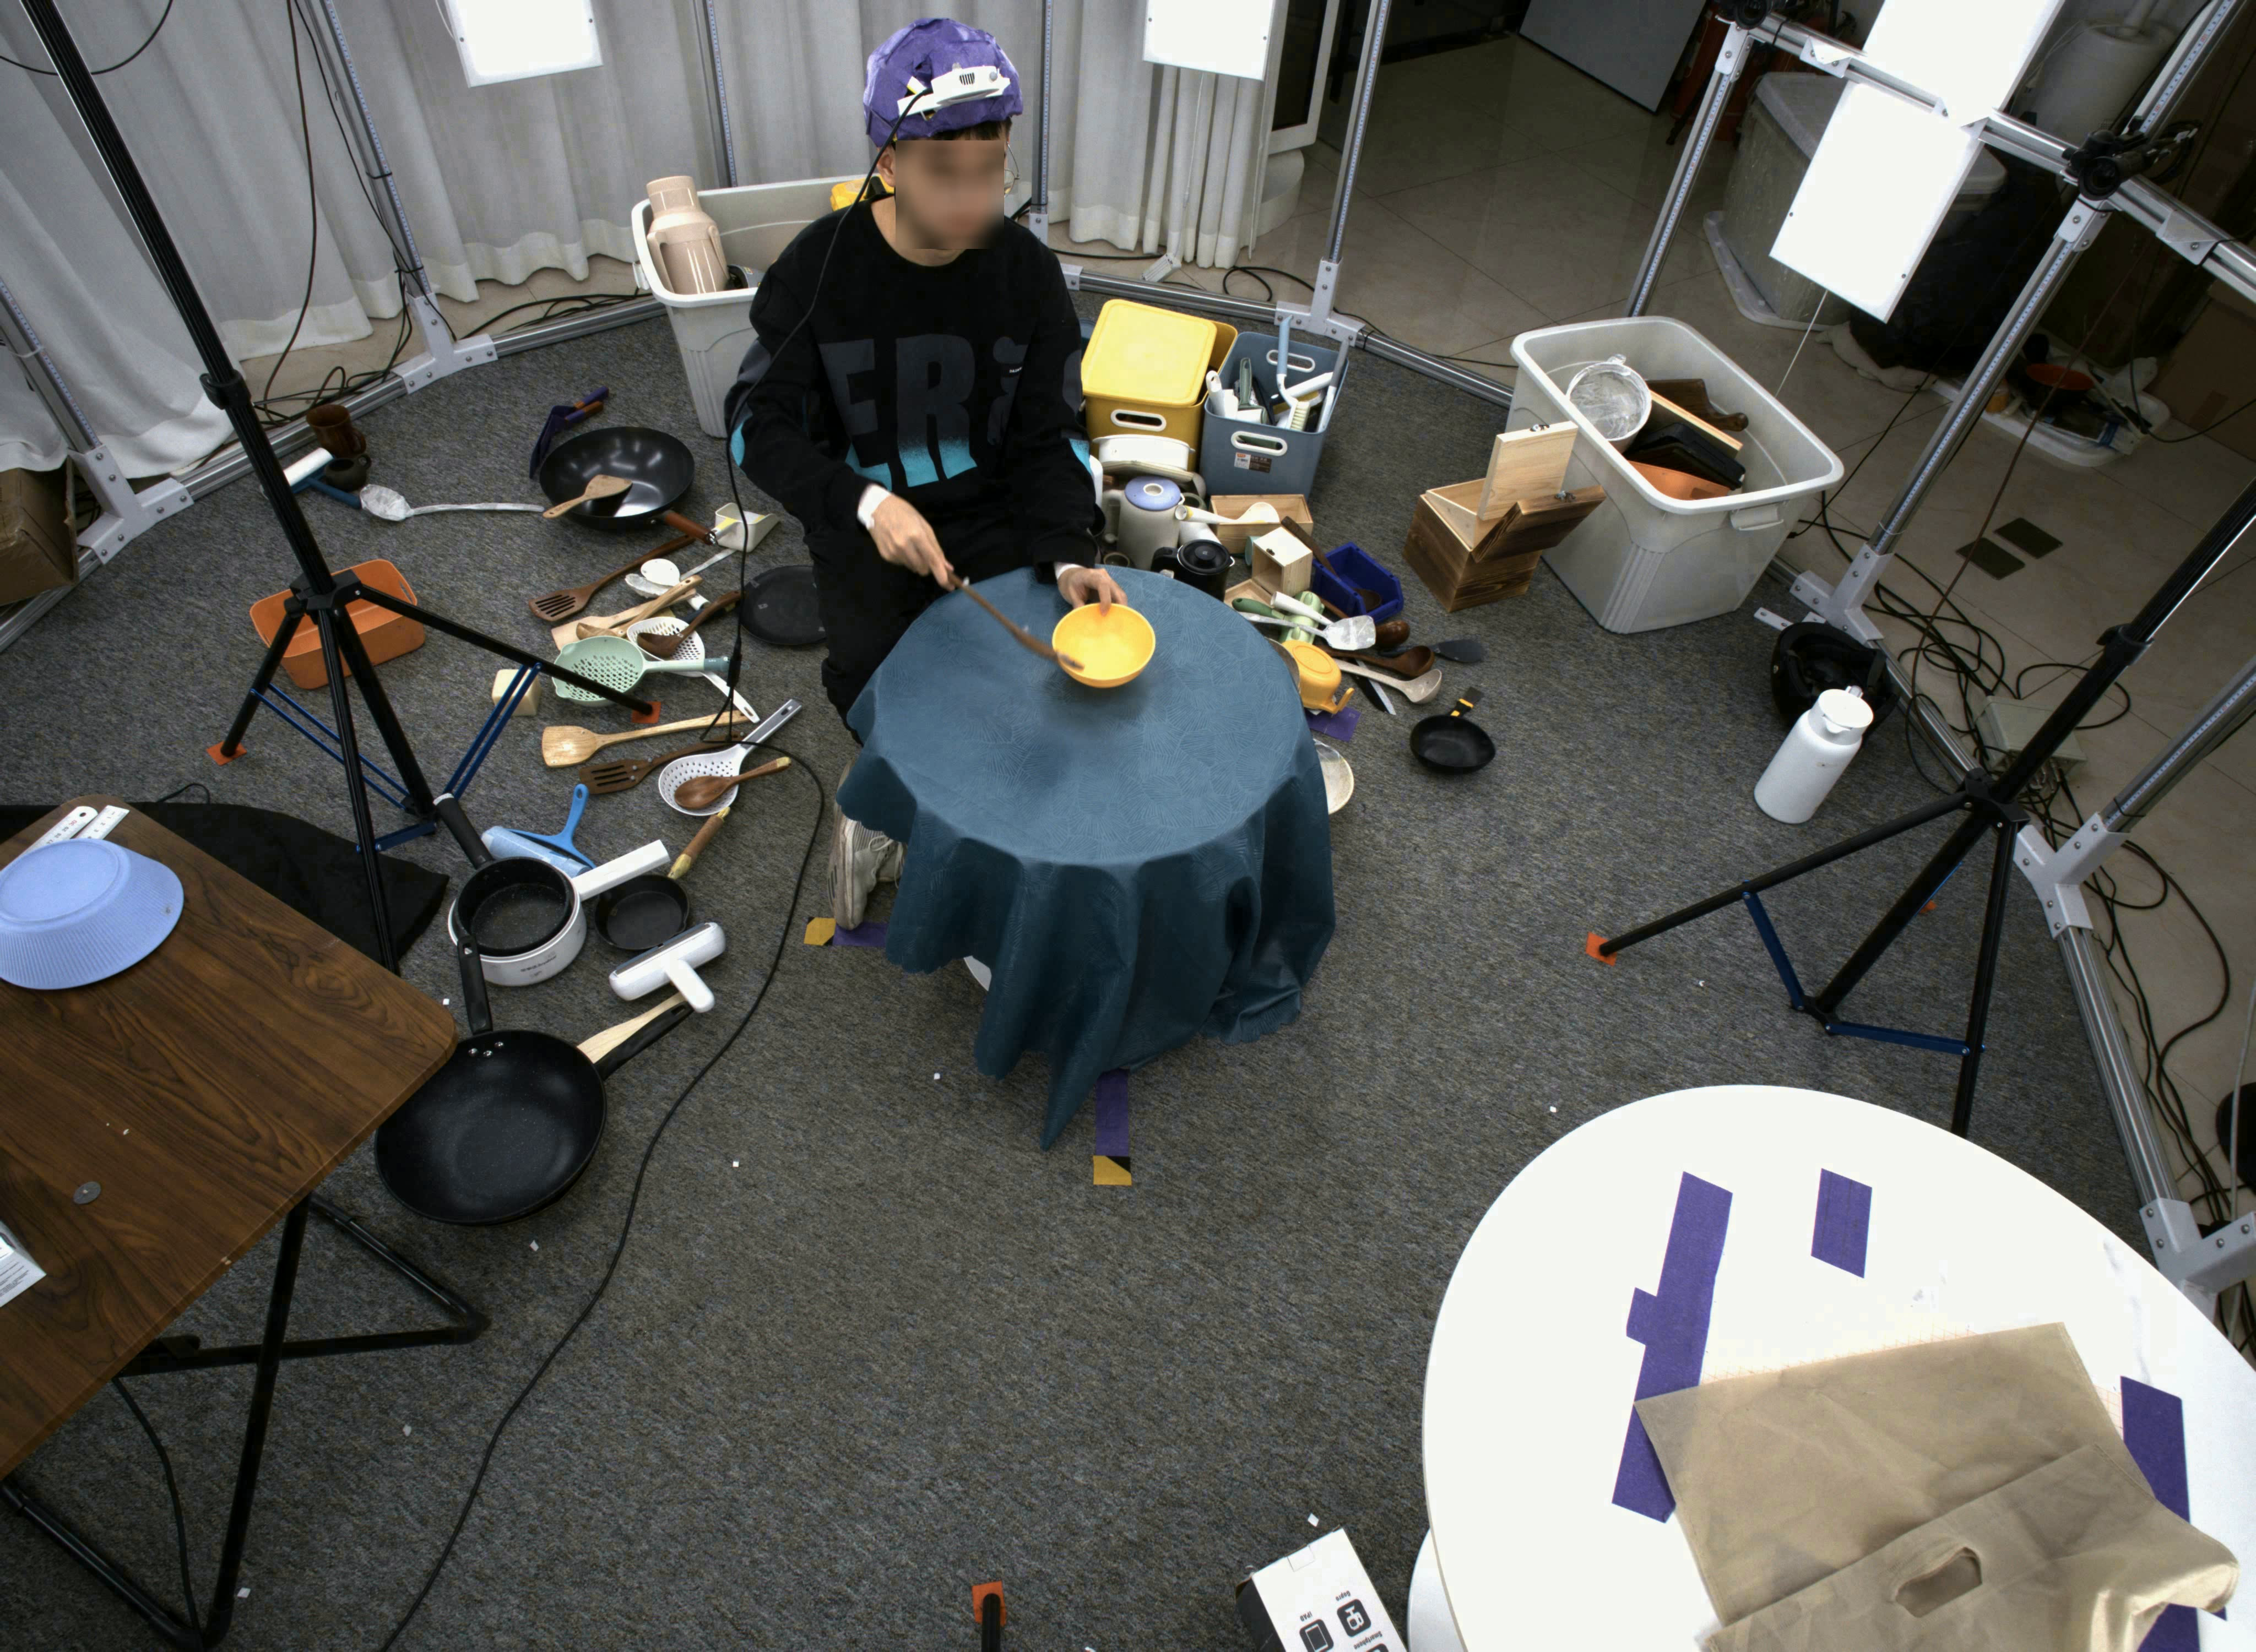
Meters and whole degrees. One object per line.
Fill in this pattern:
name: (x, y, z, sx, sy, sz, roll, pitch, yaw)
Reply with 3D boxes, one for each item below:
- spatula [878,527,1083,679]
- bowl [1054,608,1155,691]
spatula: (-0.212, -0.311, 1.768, 0.391, 0.015, 0.095, 40, 15, 23)
bowl: (-0.035, -0.243, 1.847, 0.145, 0.059, 0.149, 2, 53, -3)
